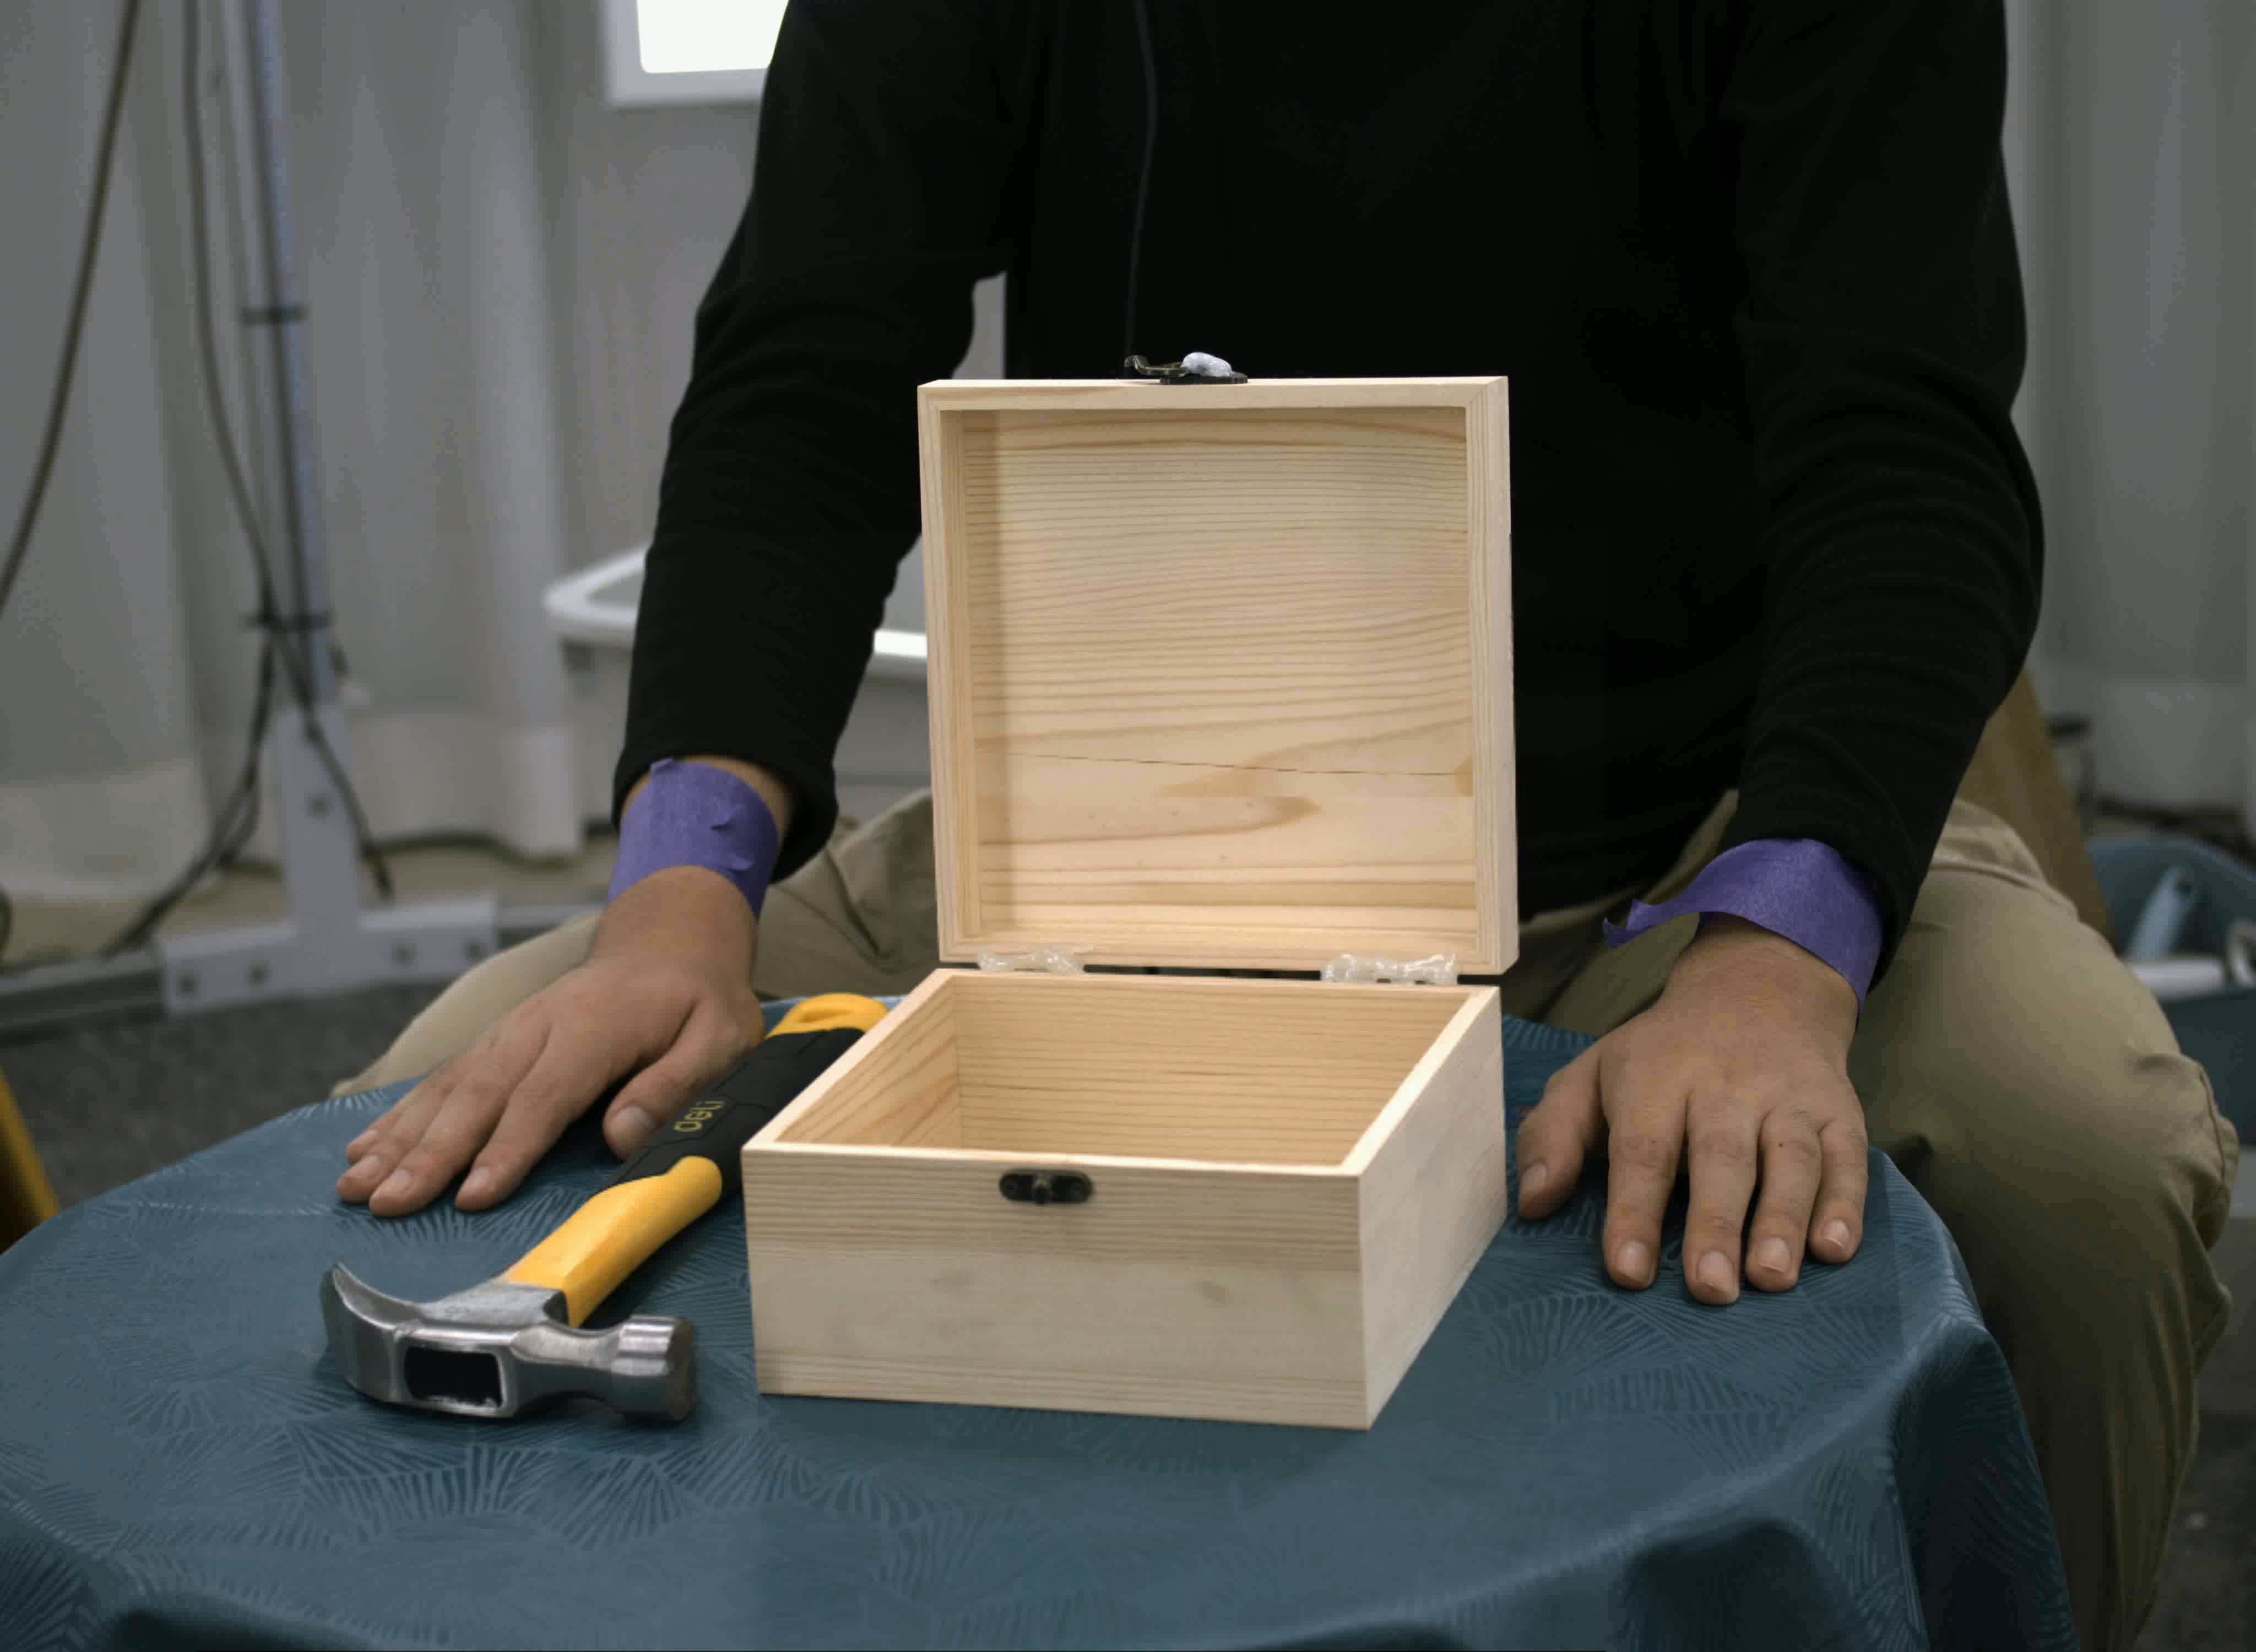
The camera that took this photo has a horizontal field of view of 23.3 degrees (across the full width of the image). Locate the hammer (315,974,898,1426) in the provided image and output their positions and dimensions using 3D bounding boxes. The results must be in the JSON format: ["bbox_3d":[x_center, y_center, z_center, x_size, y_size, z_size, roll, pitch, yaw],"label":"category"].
[{"bbox_3d":[-0.143,0.108,1.695,0.131,0.032,0.340,2,17,17],"label":"hammer"}]

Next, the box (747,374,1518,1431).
[{"bbox_3d":[0.008,0.013,1.615,0.181,0.252,0.266,-1,14,16],"label":"box"}]
